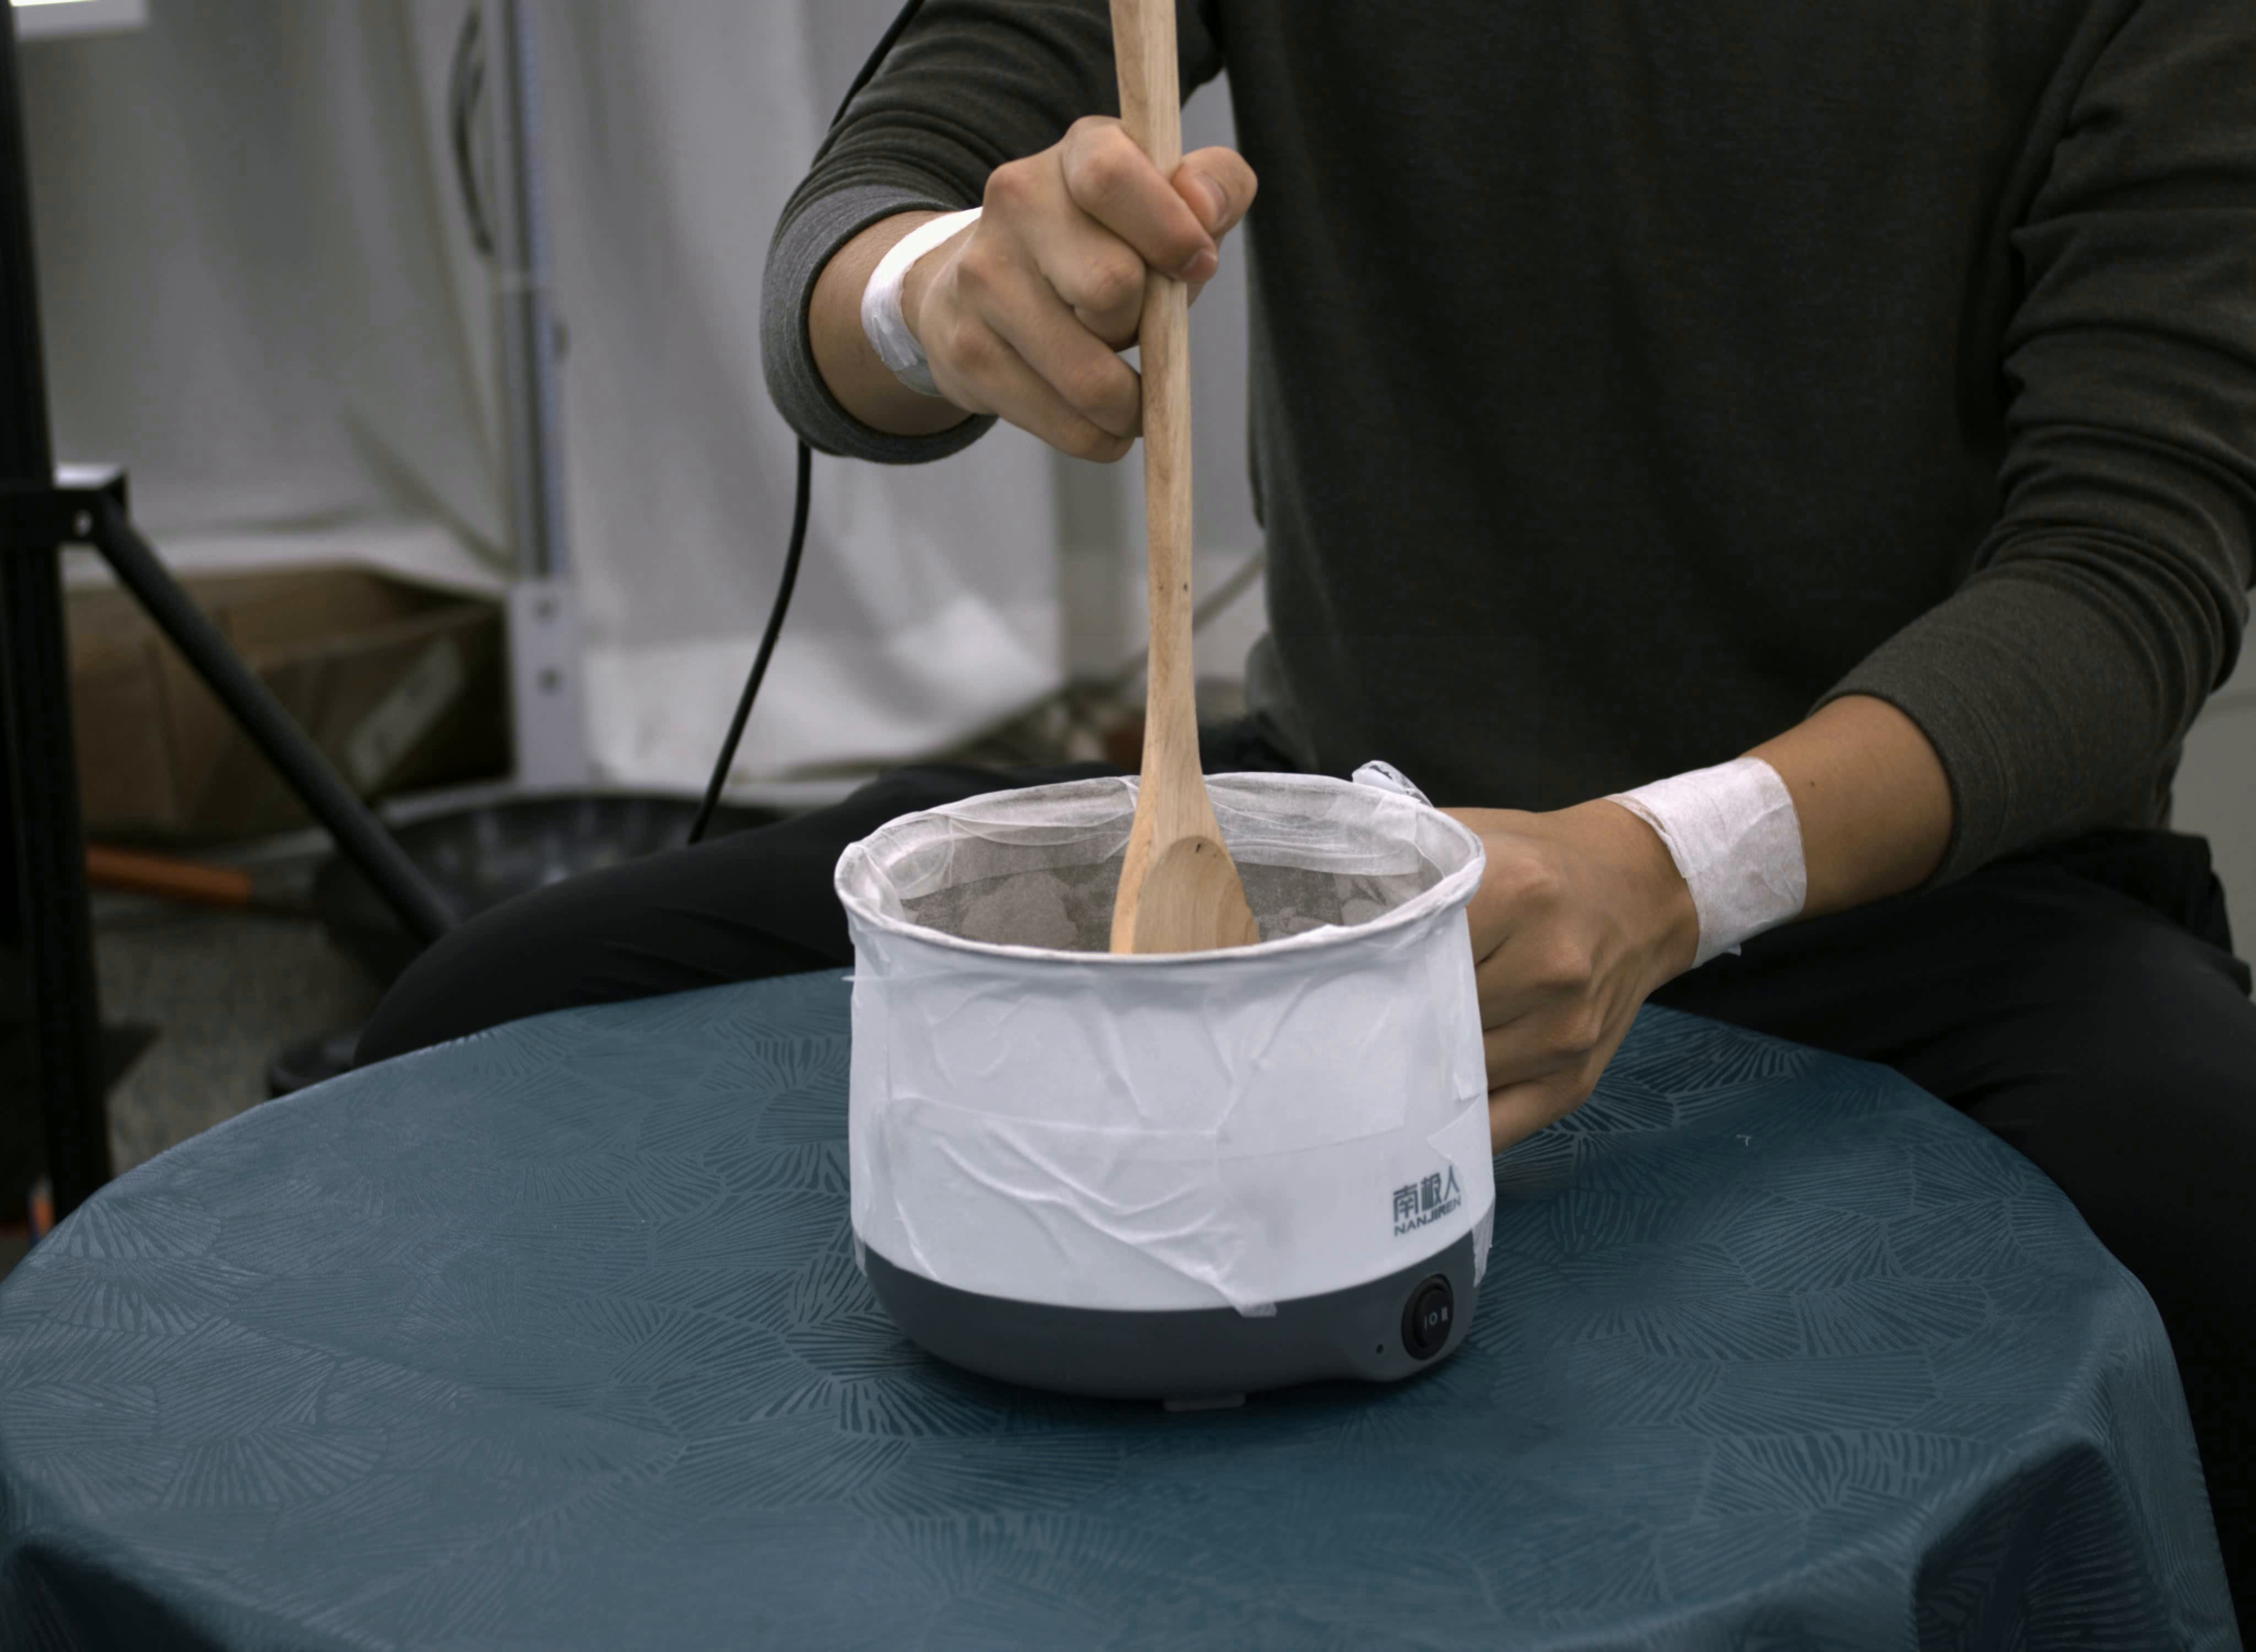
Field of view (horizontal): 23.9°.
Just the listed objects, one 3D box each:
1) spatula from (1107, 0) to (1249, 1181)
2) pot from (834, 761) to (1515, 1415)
[{"bbox_3d":[0.009,-0.097,1.392,0.019,0.392,0.094,1,7,22],"label":"spatula"},{"bbox_3d":[0.028,0.064,1.464,0.182,0.136,0.229,10,20,38],"label":"pot"}]
